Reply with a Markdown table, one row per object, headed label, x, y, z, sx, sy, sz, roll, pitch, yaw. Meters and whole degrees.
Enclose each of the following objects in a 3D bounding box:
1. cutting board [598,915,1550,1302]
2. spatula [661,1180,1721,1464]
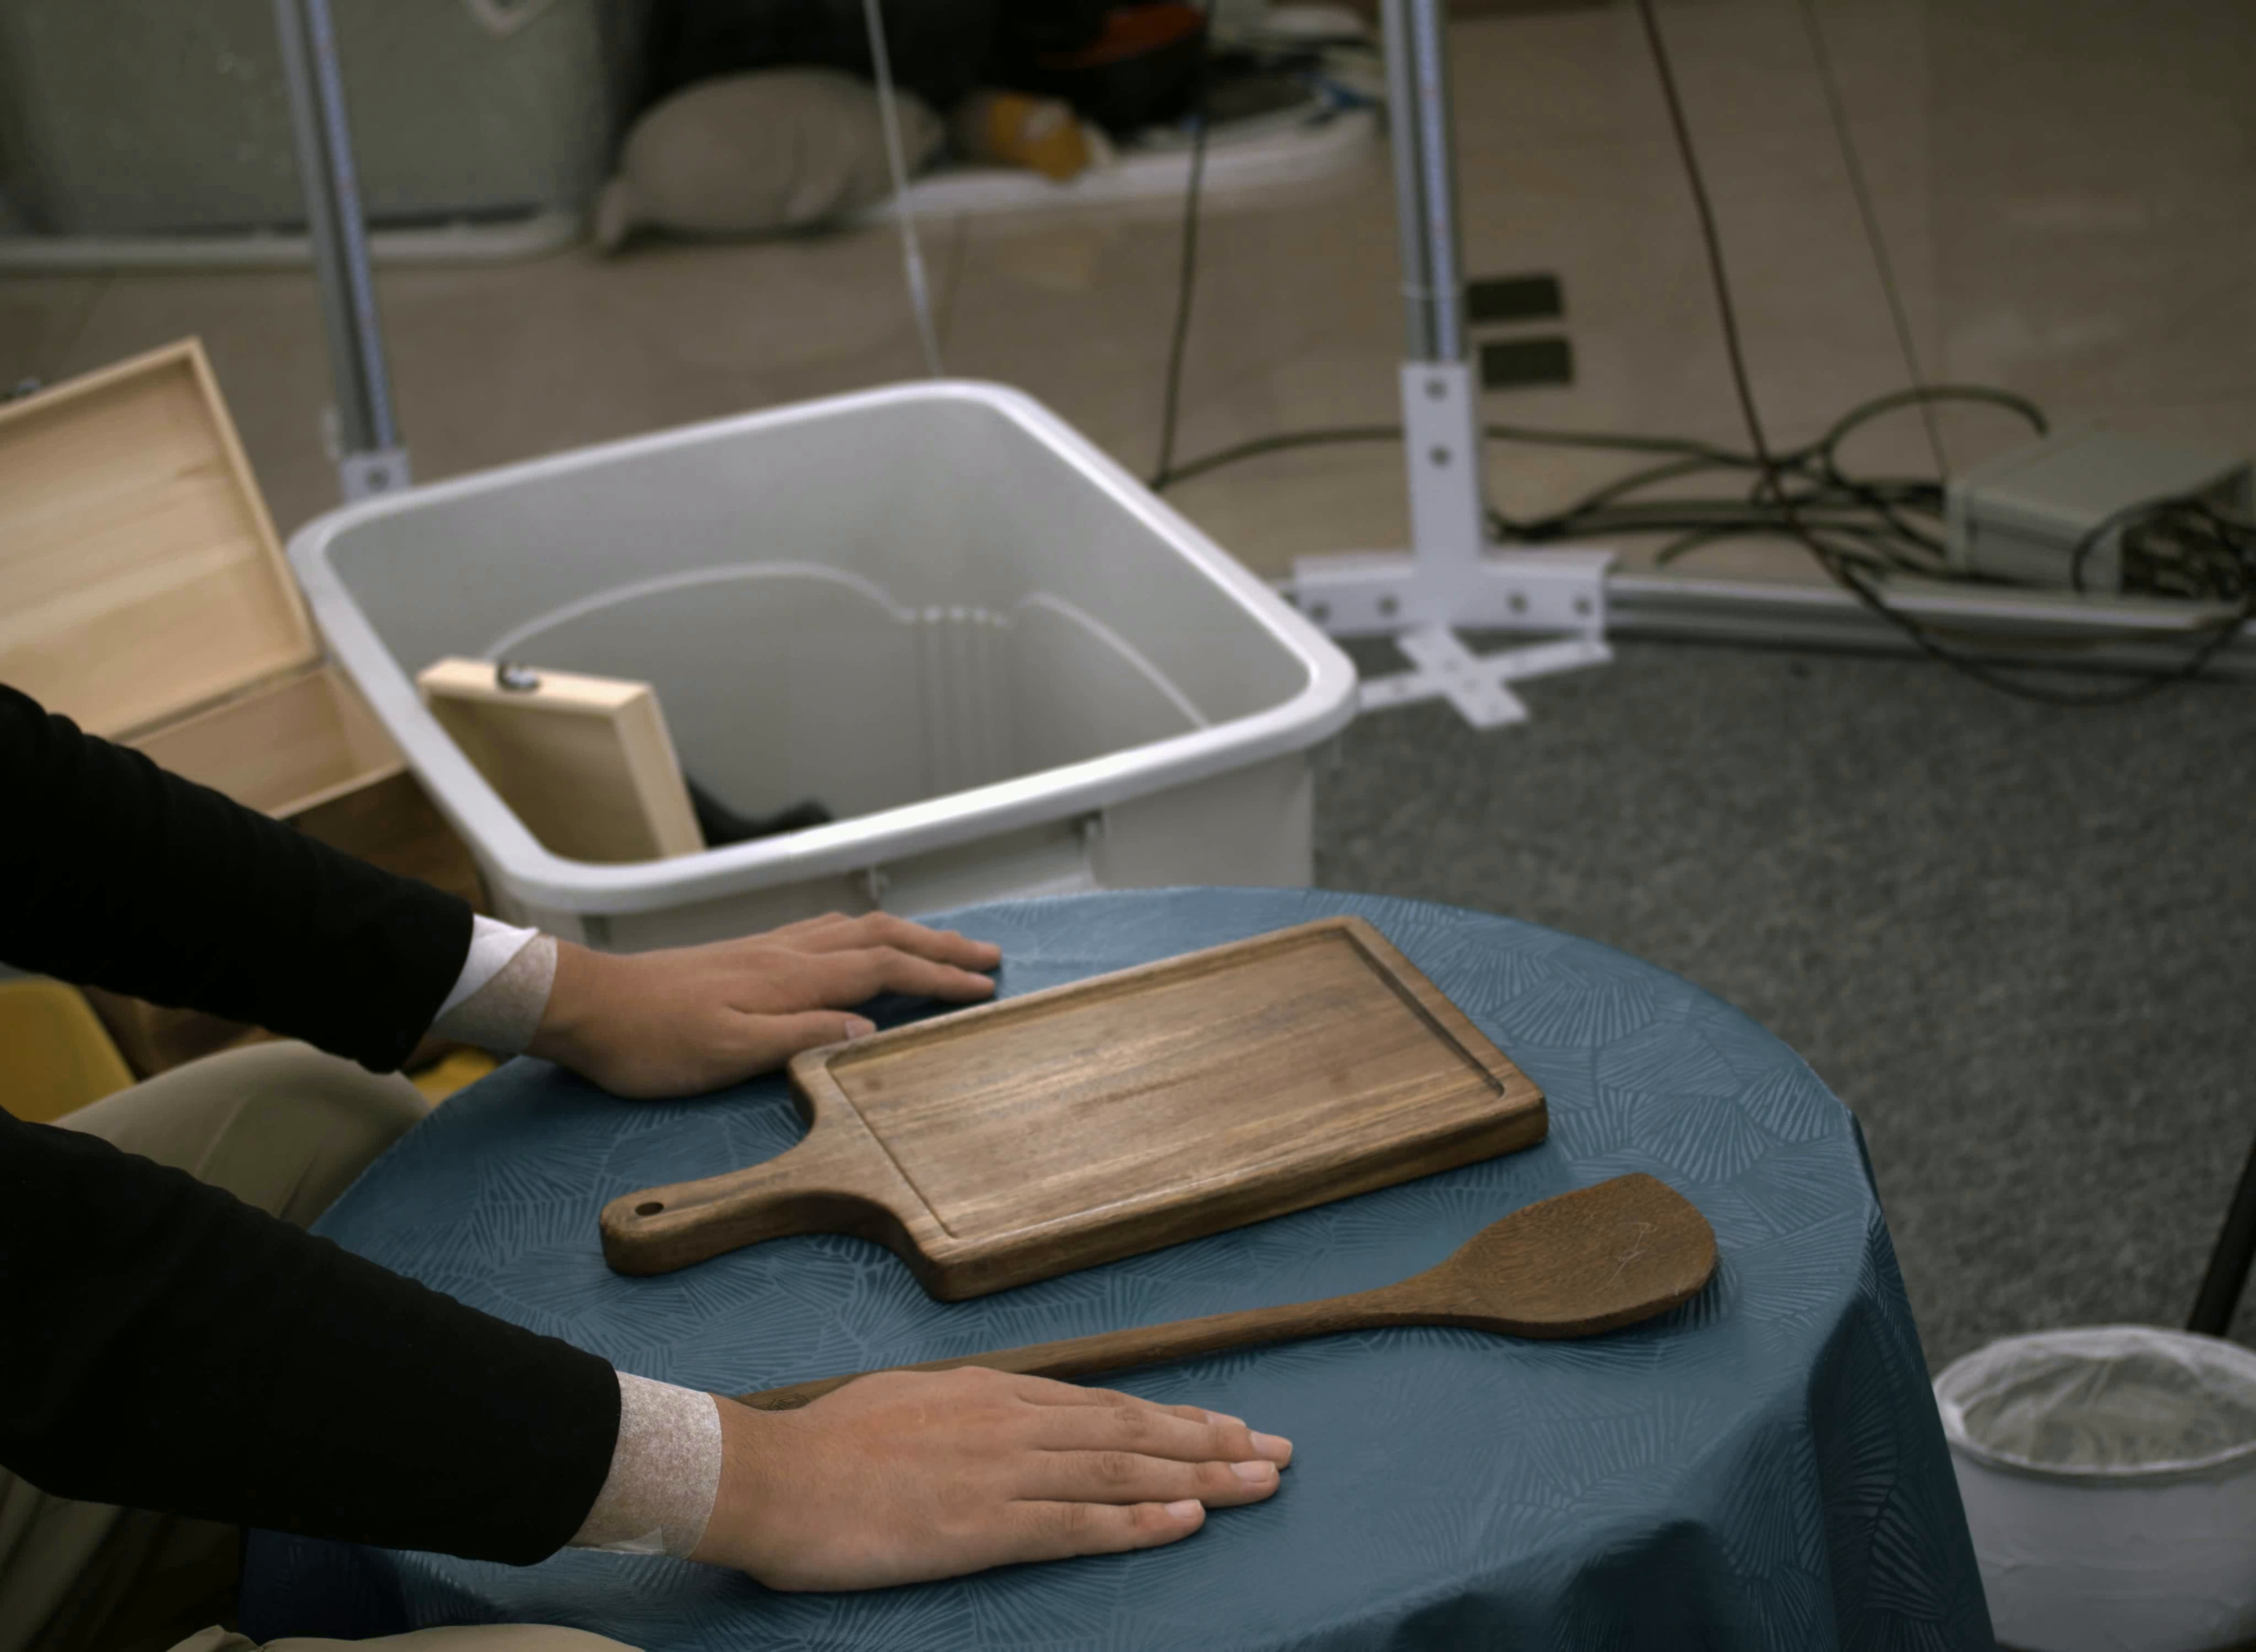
| label | x | y | z | sx | sy | sz | roll | pitch | yaw |
| --- | --- | --- | --- | --- | --- | --- | --- | --- | --- |
| cutting board | -0.035 | 0.117 | 2.181 | 0.351 | 0.023 | 0.198 | -14 | 26 | -16 |
| spatula | 0.022 | 0.183 | 2.031 | 0.385 | 0.016 | 0.095 | -10 | 25 | -7 |
